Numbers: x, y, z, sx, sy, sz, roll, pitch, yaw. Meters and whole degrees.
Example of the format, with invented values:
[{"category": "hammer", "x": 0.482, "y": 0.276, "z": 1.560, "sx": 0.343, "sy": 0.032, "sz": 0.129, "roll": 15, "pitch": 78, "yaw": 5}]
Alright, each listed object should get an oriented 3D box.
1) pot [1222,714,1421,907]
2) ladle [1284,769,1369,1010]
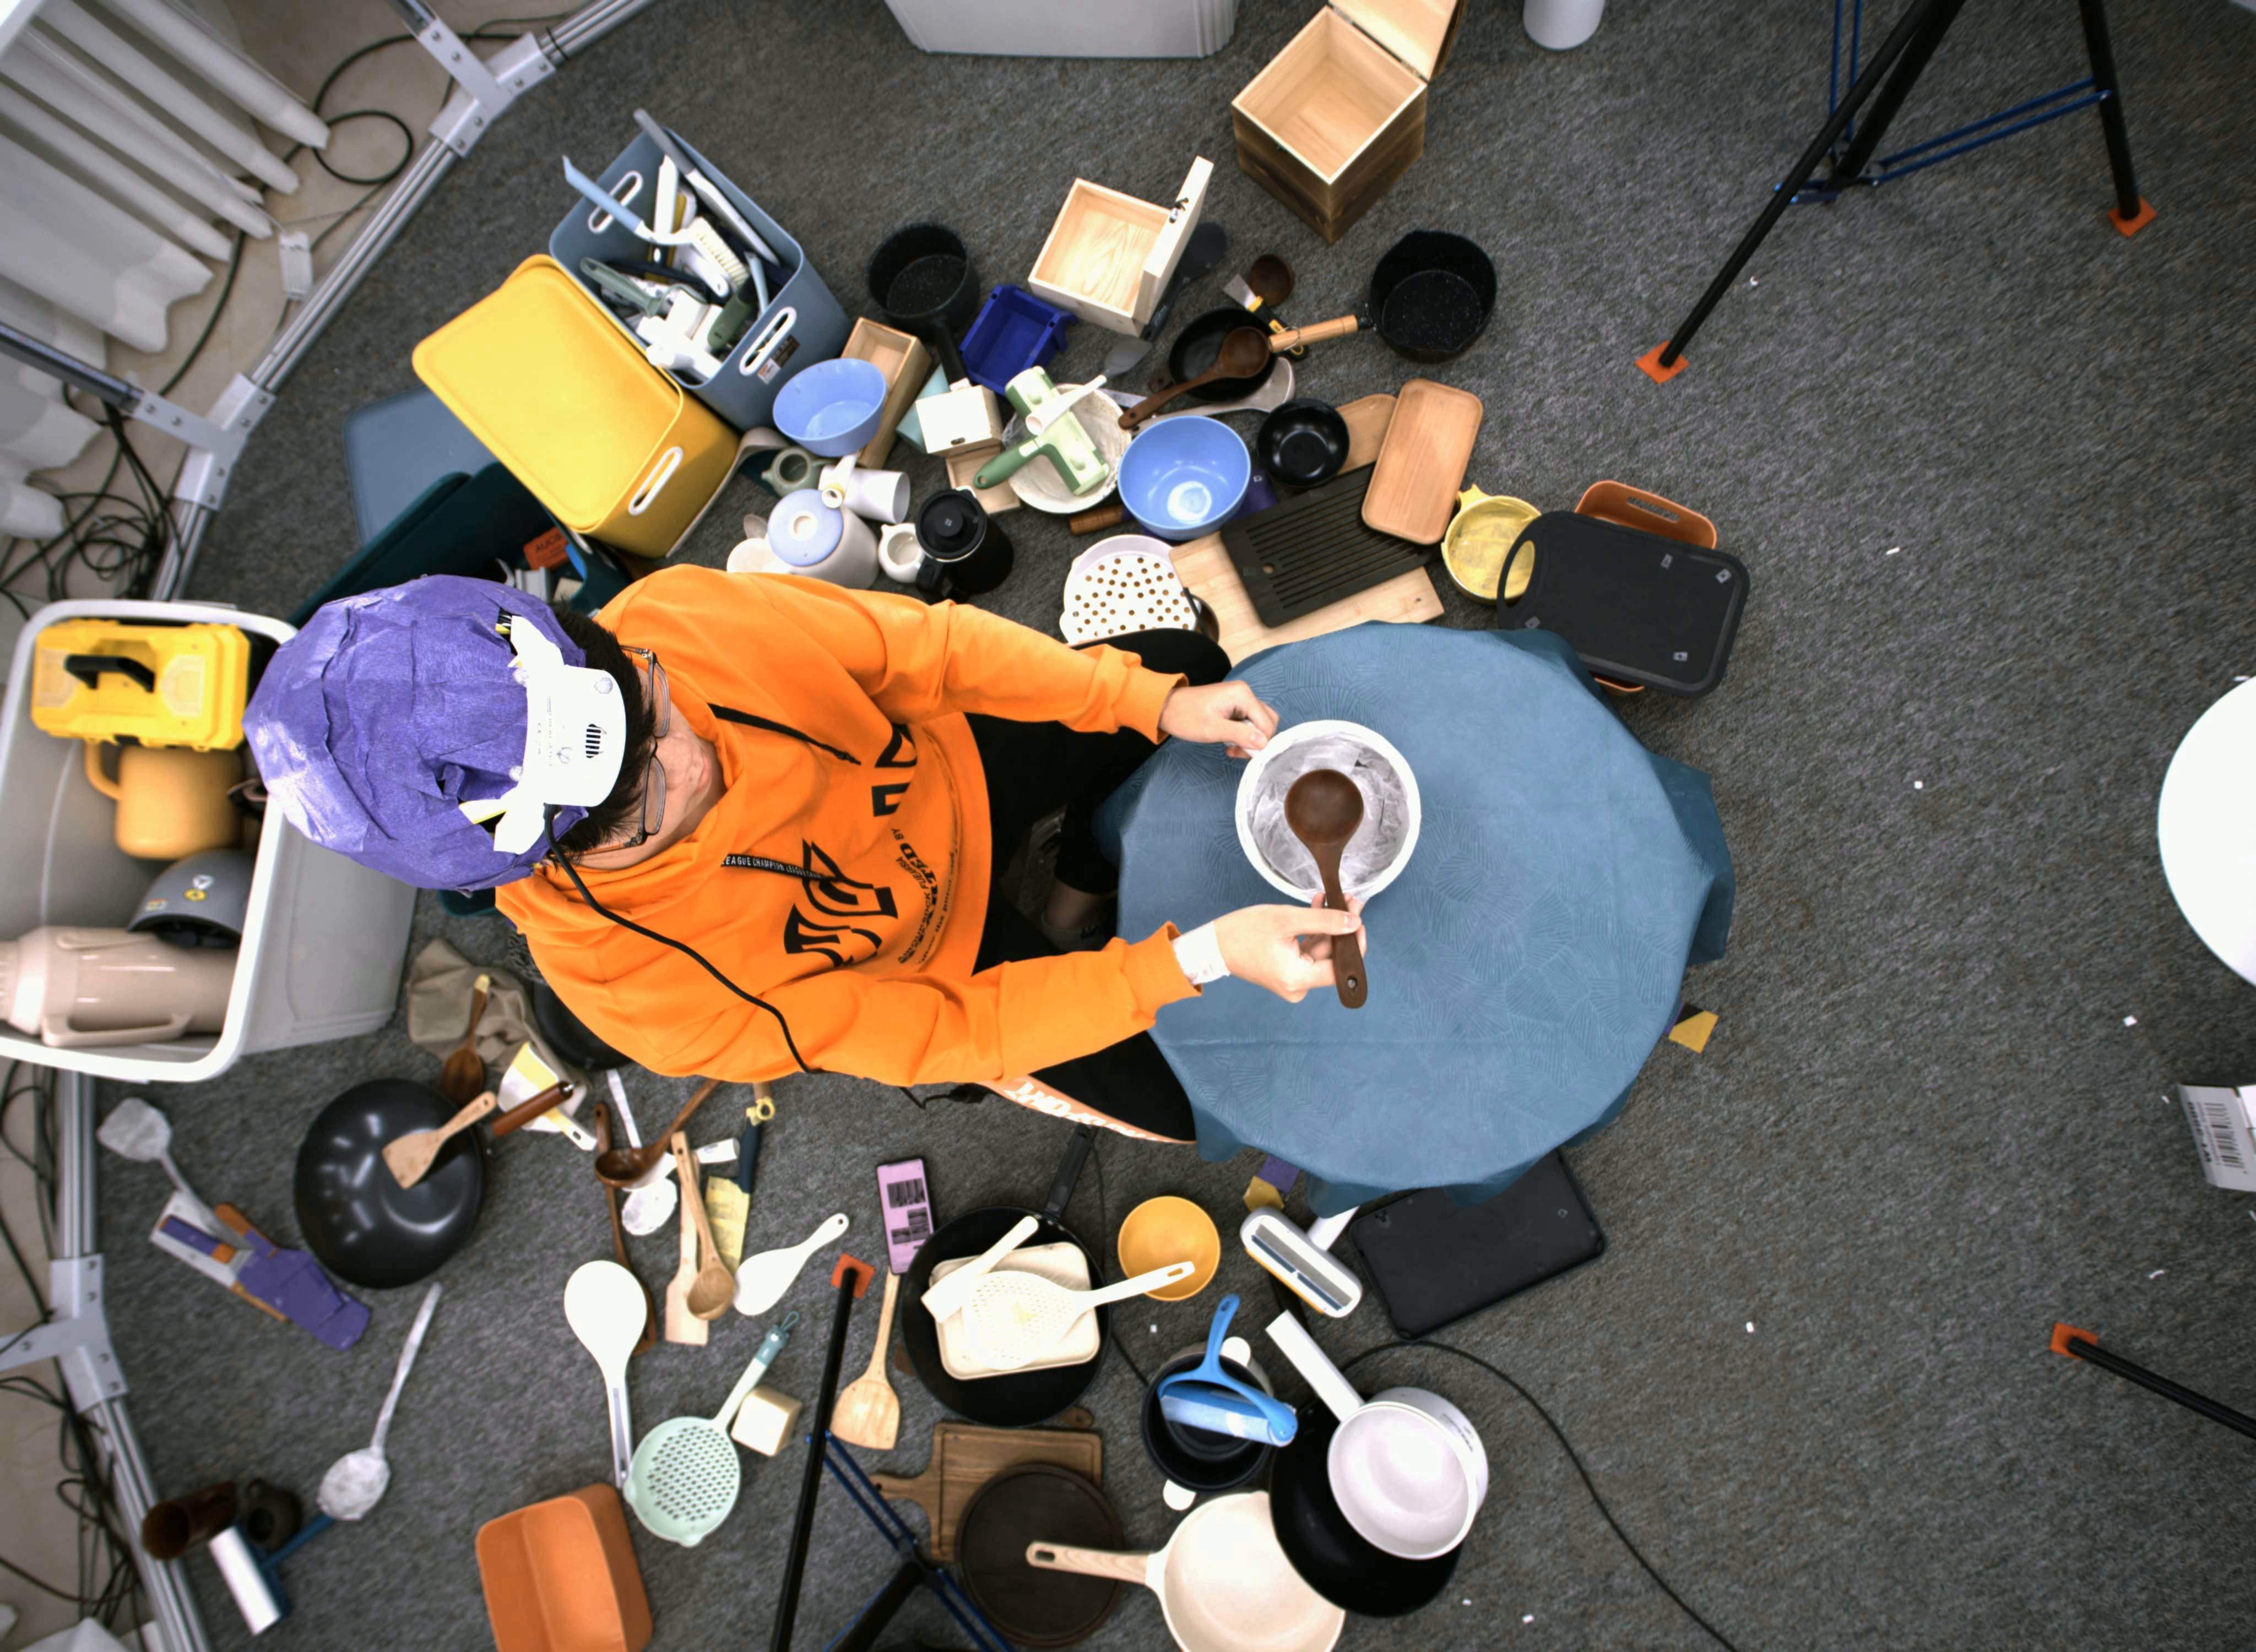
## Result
[{"category": "pot", "x": 0.182, "y": -0.028, "z": 1.385, "sx": 0.233, "sy": 0.136, "sz": 0.179, "roll": 43, "pitch": 95, "yaw": 10}, {"category": "ladle", "x": 0.186, "y": 0.048, "z": 1.237, "sx": 0.077, "sy": 0.066, "sz": 0.253, "roll": -9, "pitch": 42, "yaw": 8}]
